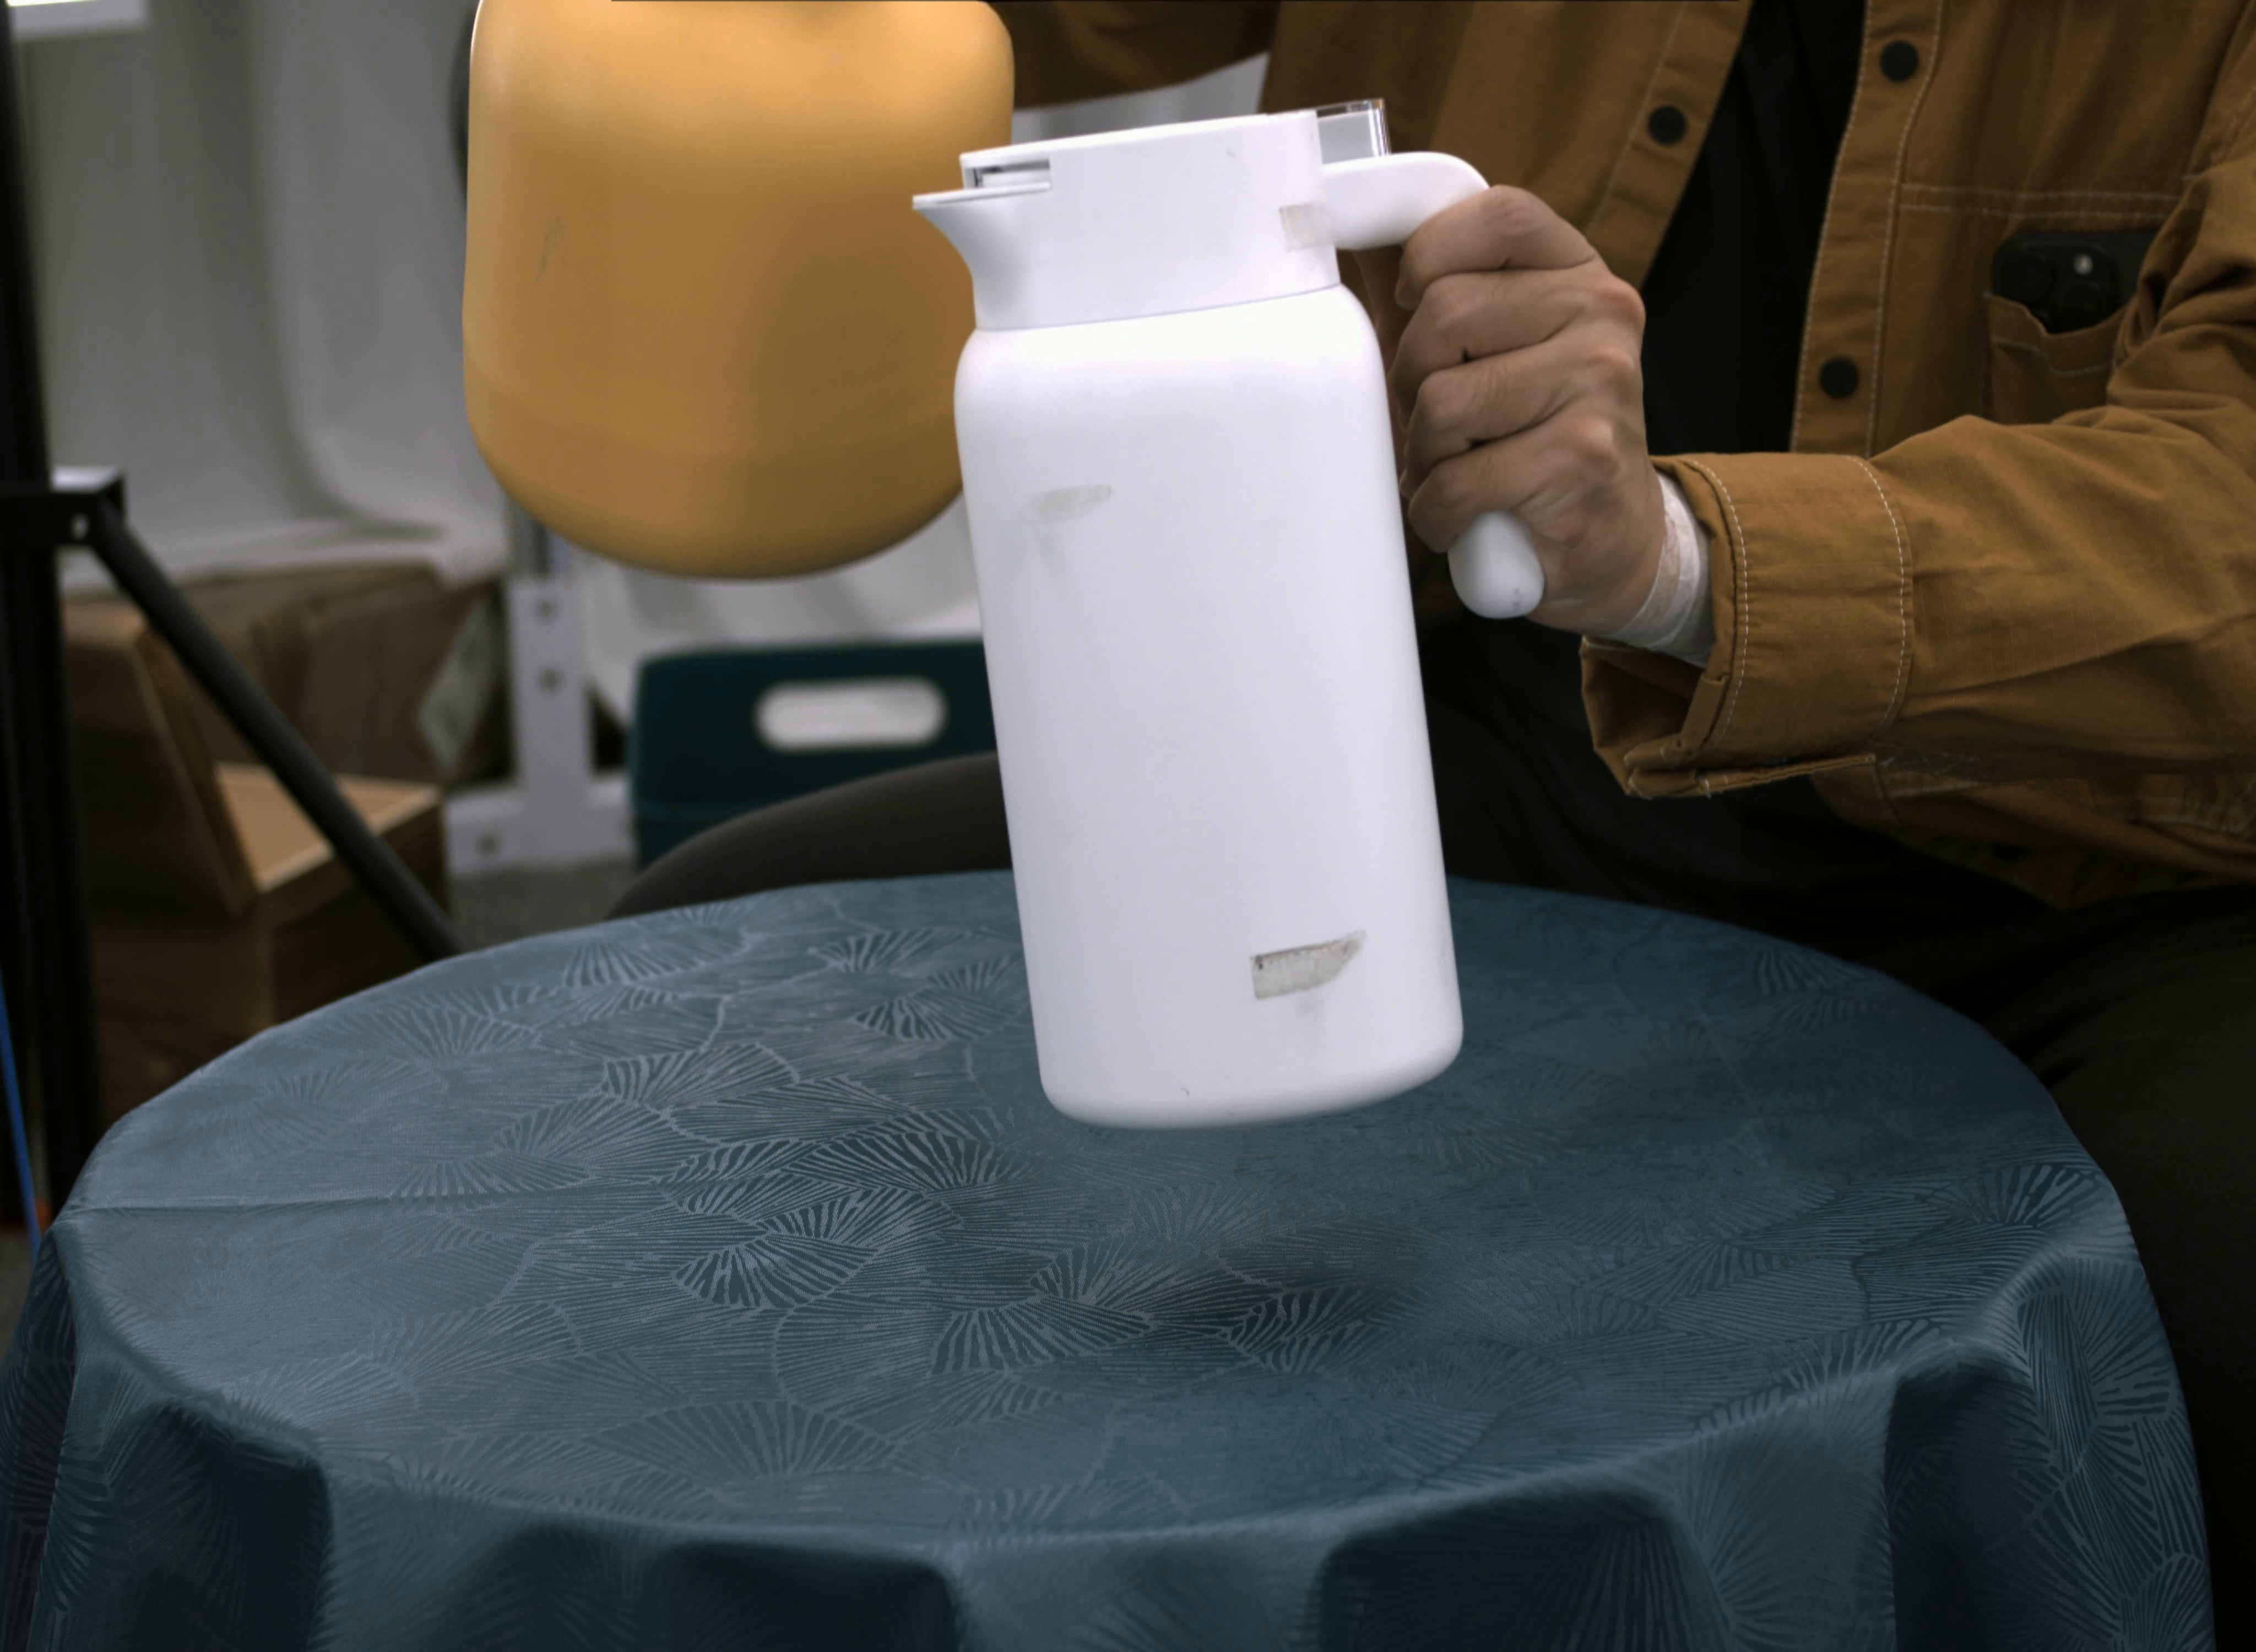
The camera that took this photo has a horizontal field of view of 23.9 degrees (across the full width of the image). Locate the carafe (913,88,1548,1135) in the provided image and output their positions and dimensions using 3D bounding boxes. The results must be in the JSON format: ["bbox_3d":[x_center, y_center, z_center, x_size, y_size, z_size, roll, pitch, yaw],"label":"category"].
[{"bbox_3d":[0.034,-0.060,1.443,0.169,0.269,0.126,-11,6,-26],"label":"carafe"}]

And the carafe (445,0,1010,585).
[{"bbox_3d":[-0.124,-0.222,1.592,0.160,0.260,0.207,-12,38,-29],"label":"carafe"}]
